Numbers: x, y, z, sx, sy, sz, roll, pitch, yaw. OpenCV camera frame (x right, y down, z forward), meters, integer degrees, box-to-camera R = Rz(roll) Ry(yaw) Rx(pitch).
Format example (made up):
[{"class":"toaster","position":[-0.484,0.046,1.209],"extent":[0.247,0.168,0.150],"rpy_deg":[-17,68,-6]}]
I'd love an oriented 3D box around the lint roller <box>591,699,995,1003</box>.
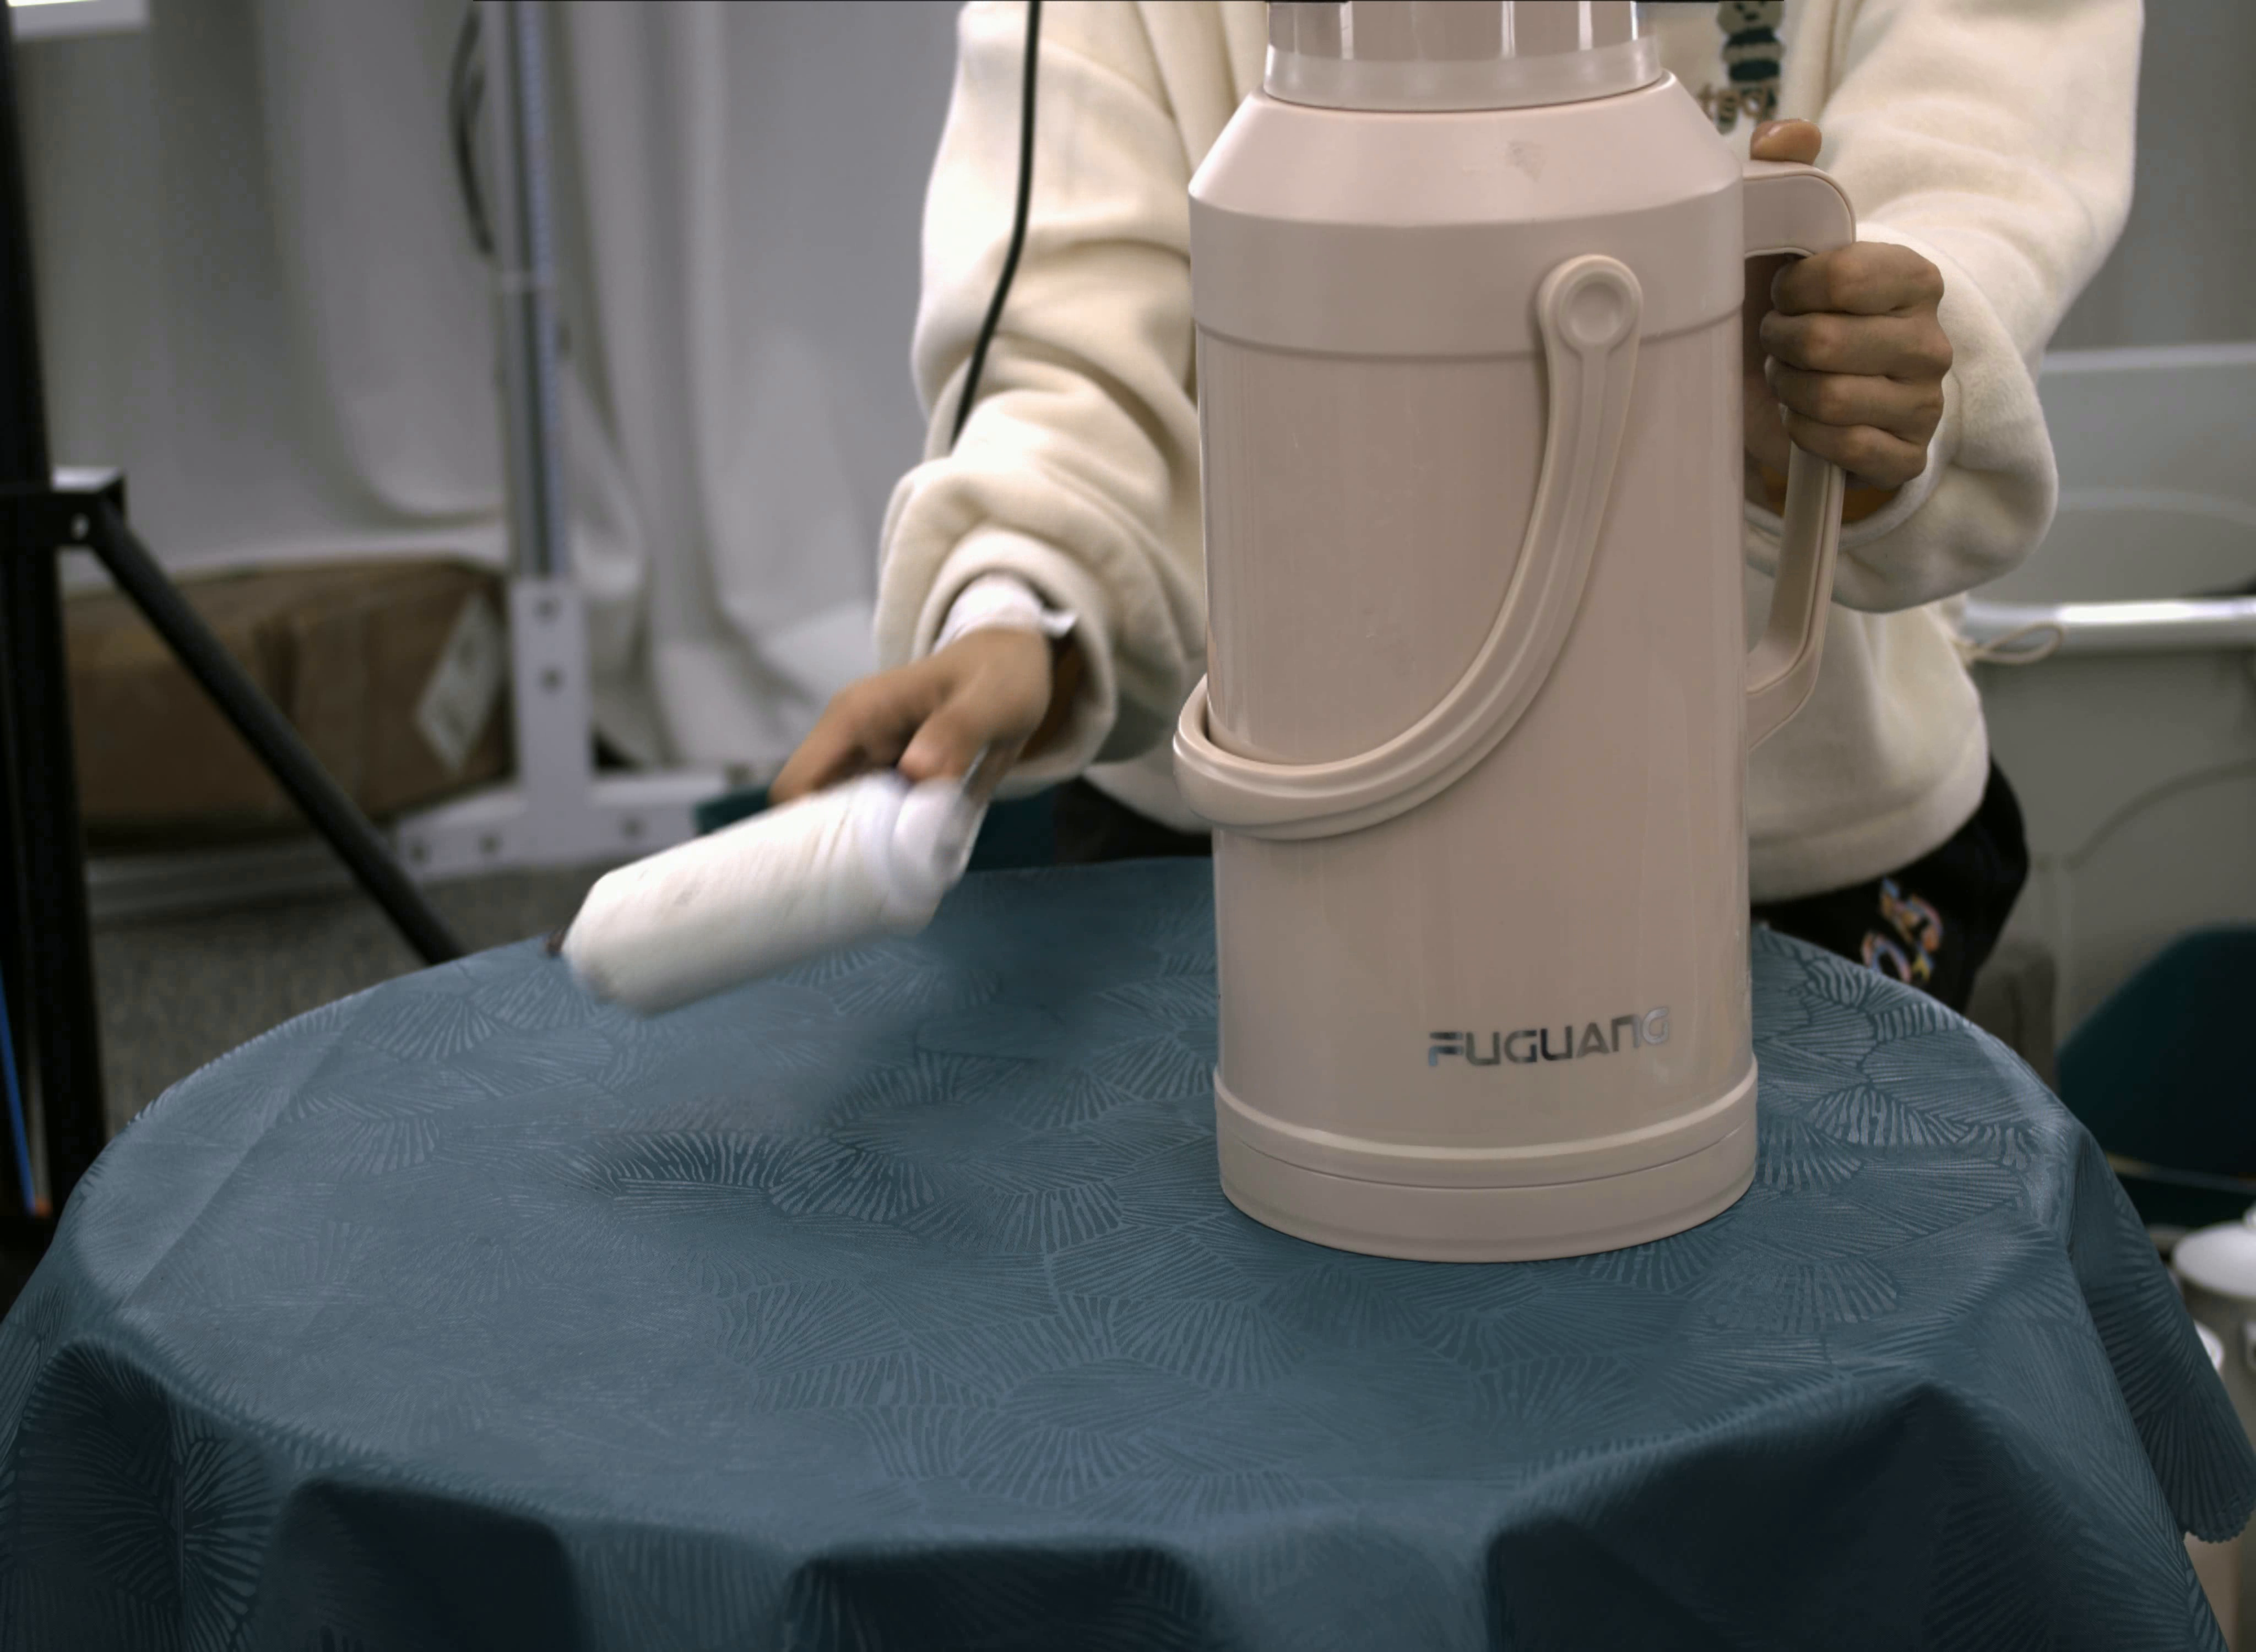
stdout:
[{"class":"lint roller","position":[-0.083,-0.014,1.650],"extent":[0.134,0.050,0.179],"rpy_deg":[-24,17,29]}]

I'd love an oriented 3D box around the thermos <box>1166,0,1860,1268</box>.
[{"class":"thermos","position":[0.111,-0.090,1.513],"extent":[0.203,0.406,0.178],"rpy_deg":[-7,15,-18]}]
